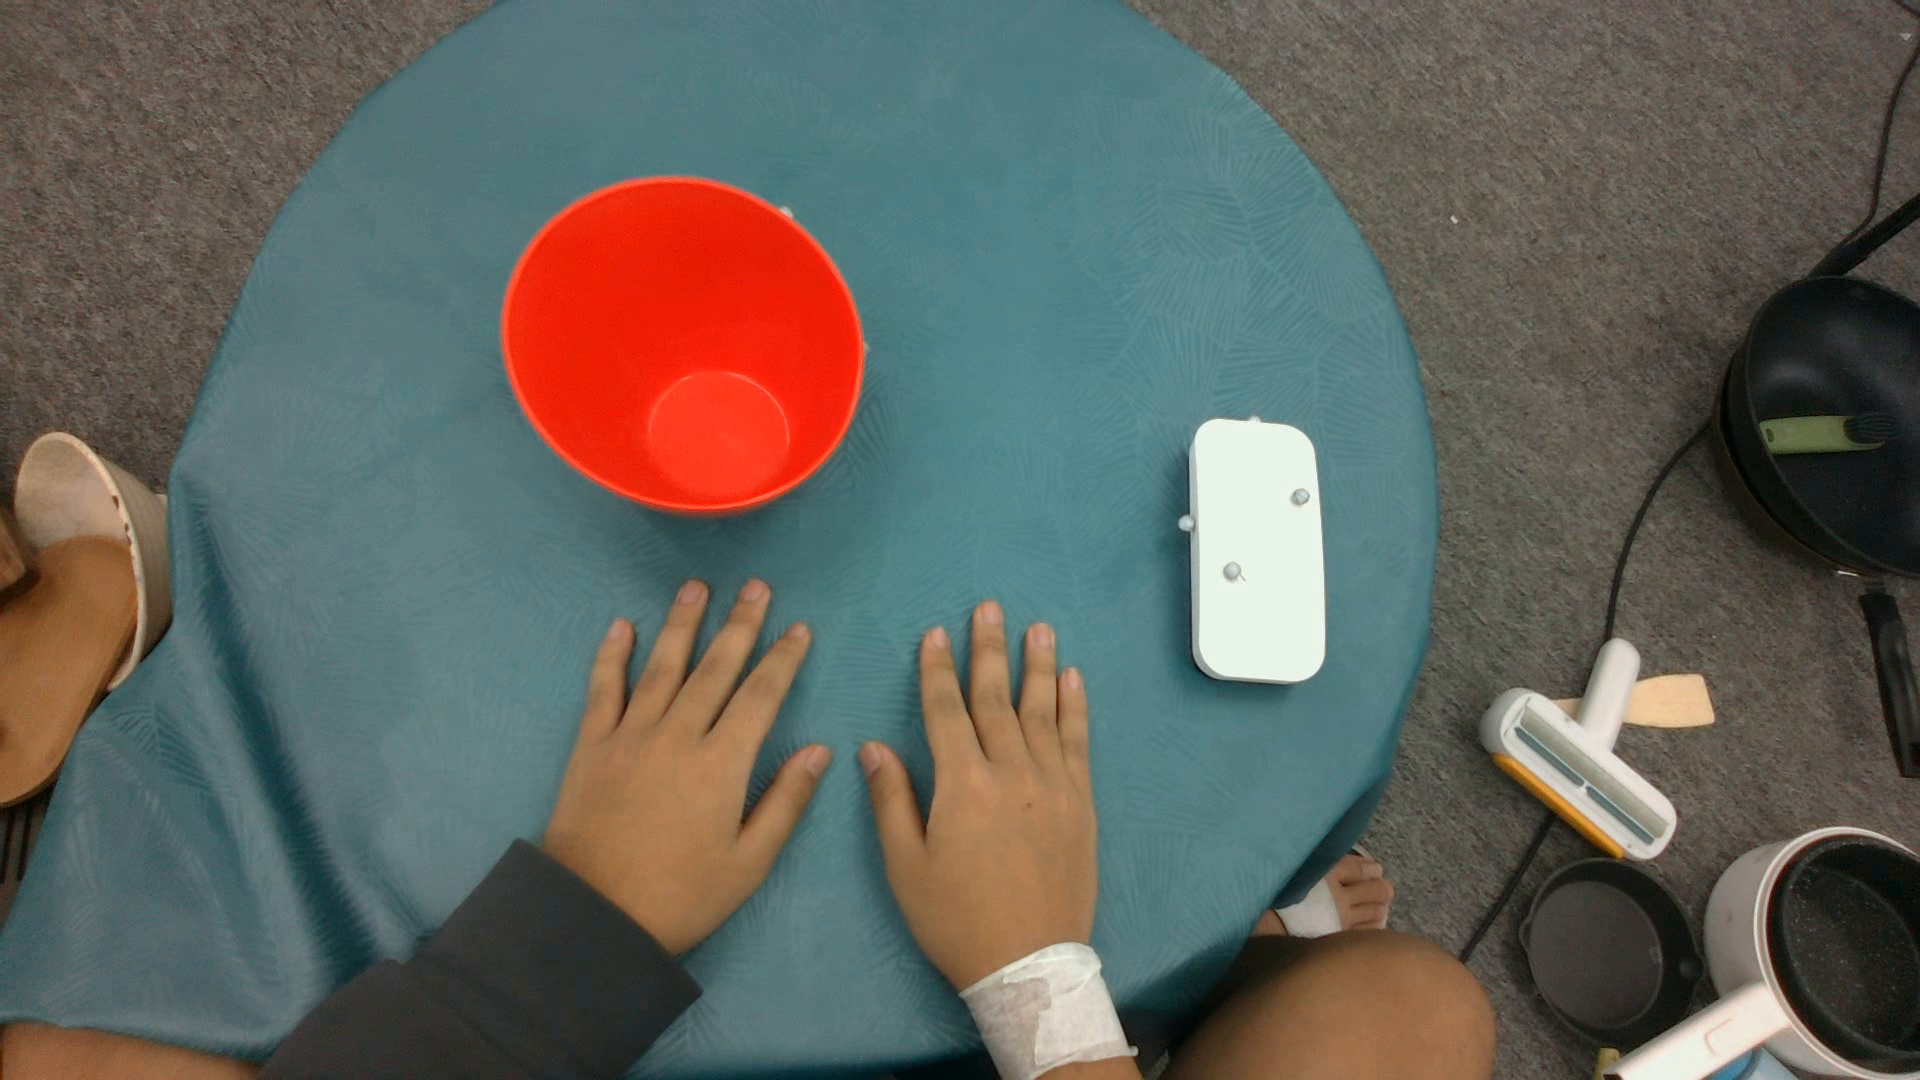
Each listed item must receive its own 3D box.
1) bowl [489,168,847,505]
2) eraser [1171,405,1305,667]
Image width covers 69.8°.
[{"bbox_3d":[-0.126,-0.077,0.619,0.148,0.104,0.148,3,71,-9],"label":"bowl"},{"bbox_3d":[0.132,-0.003,0.670,0.063,0.034,0.132,6,69,-6],"label":"eraser"}]
